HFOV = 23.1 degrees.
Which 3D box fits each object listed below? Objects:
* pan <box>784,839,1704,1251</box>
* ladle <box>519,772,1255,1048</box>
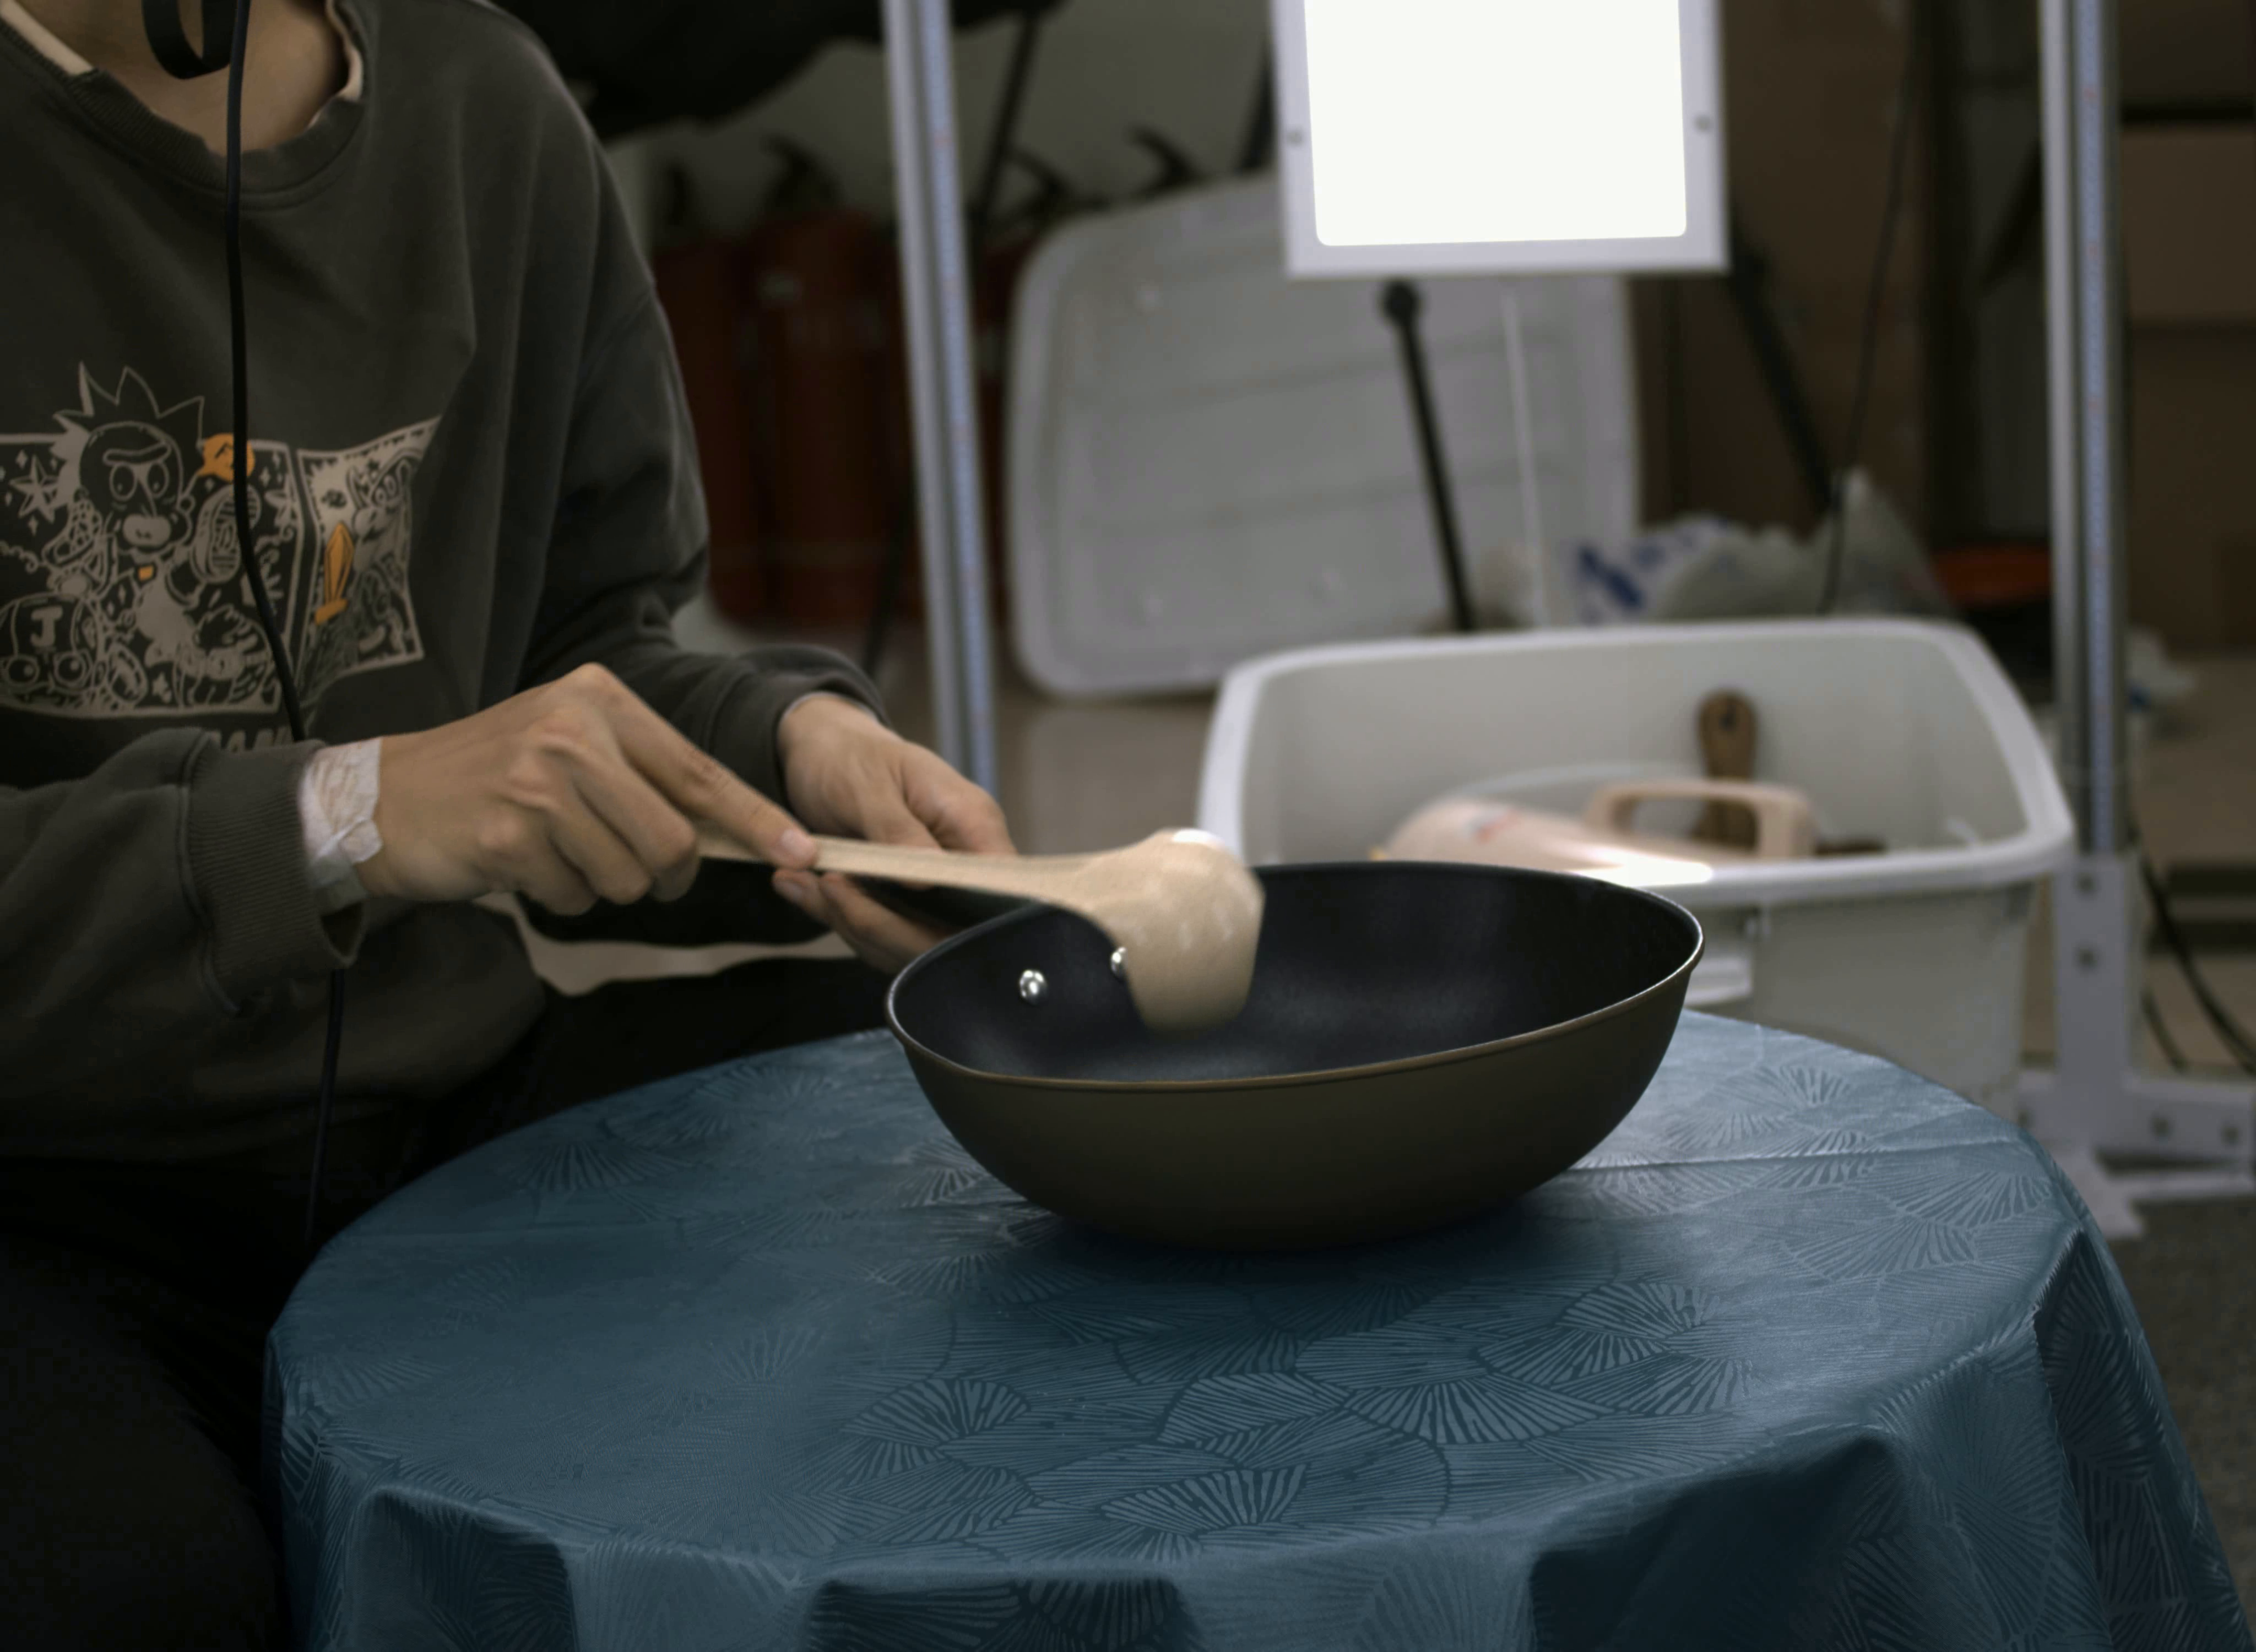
[{"bbox_3d":[0.004,0.072,1.947,0.281,0.087,0.473,-15,15,-33],"label":"pan"},{"bbox_3d":[-0.083,0.024,1.900,0.255,0.072,0.073,10,-22,9],"label":"ladle"}]
